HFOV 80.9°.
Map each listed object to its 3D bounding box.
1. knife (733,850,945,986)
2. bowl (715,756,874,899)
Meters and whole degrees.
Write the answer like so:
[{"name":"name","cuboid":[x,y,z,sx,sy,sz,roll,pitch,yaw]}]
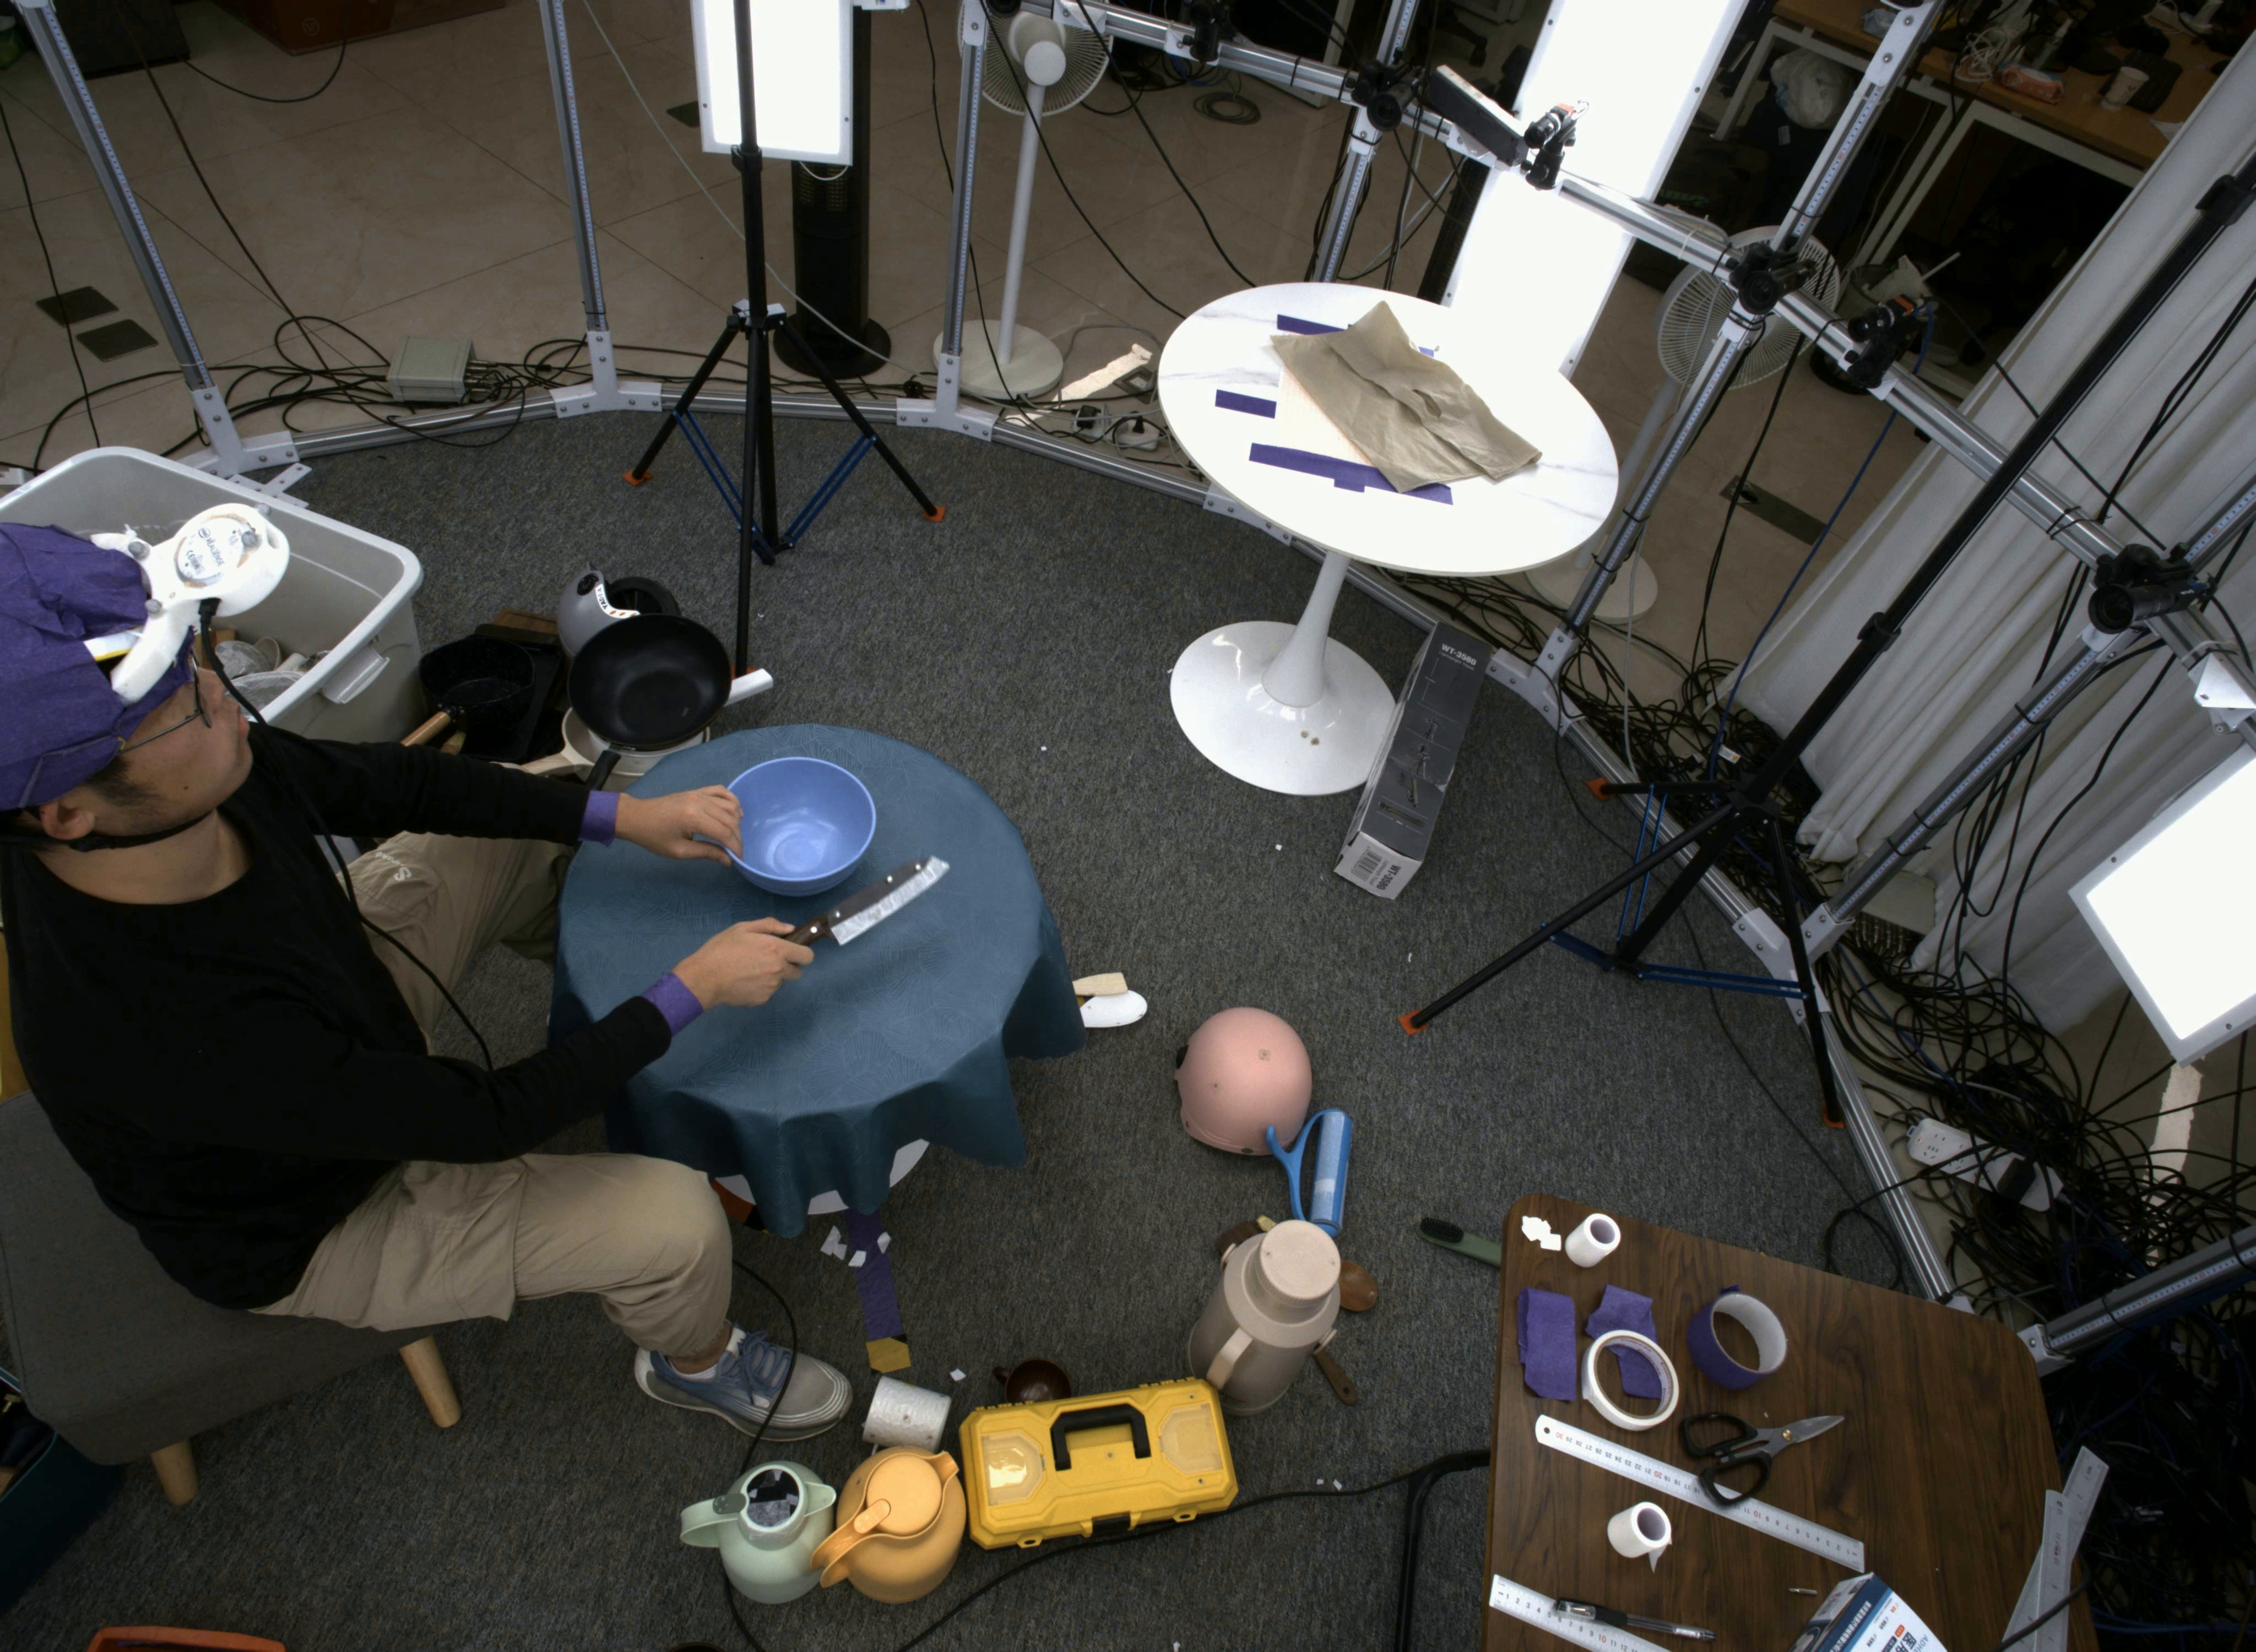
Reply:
[{"name":"knife","cuboid":[-0.339,0.104,1.546,0.289,0.019,0.051,-32,98,-24]},{"name":"bowl","cuboid":[-0.421,0.017,1.652,0.196,0.097,0.193,6,54,-7]}]
